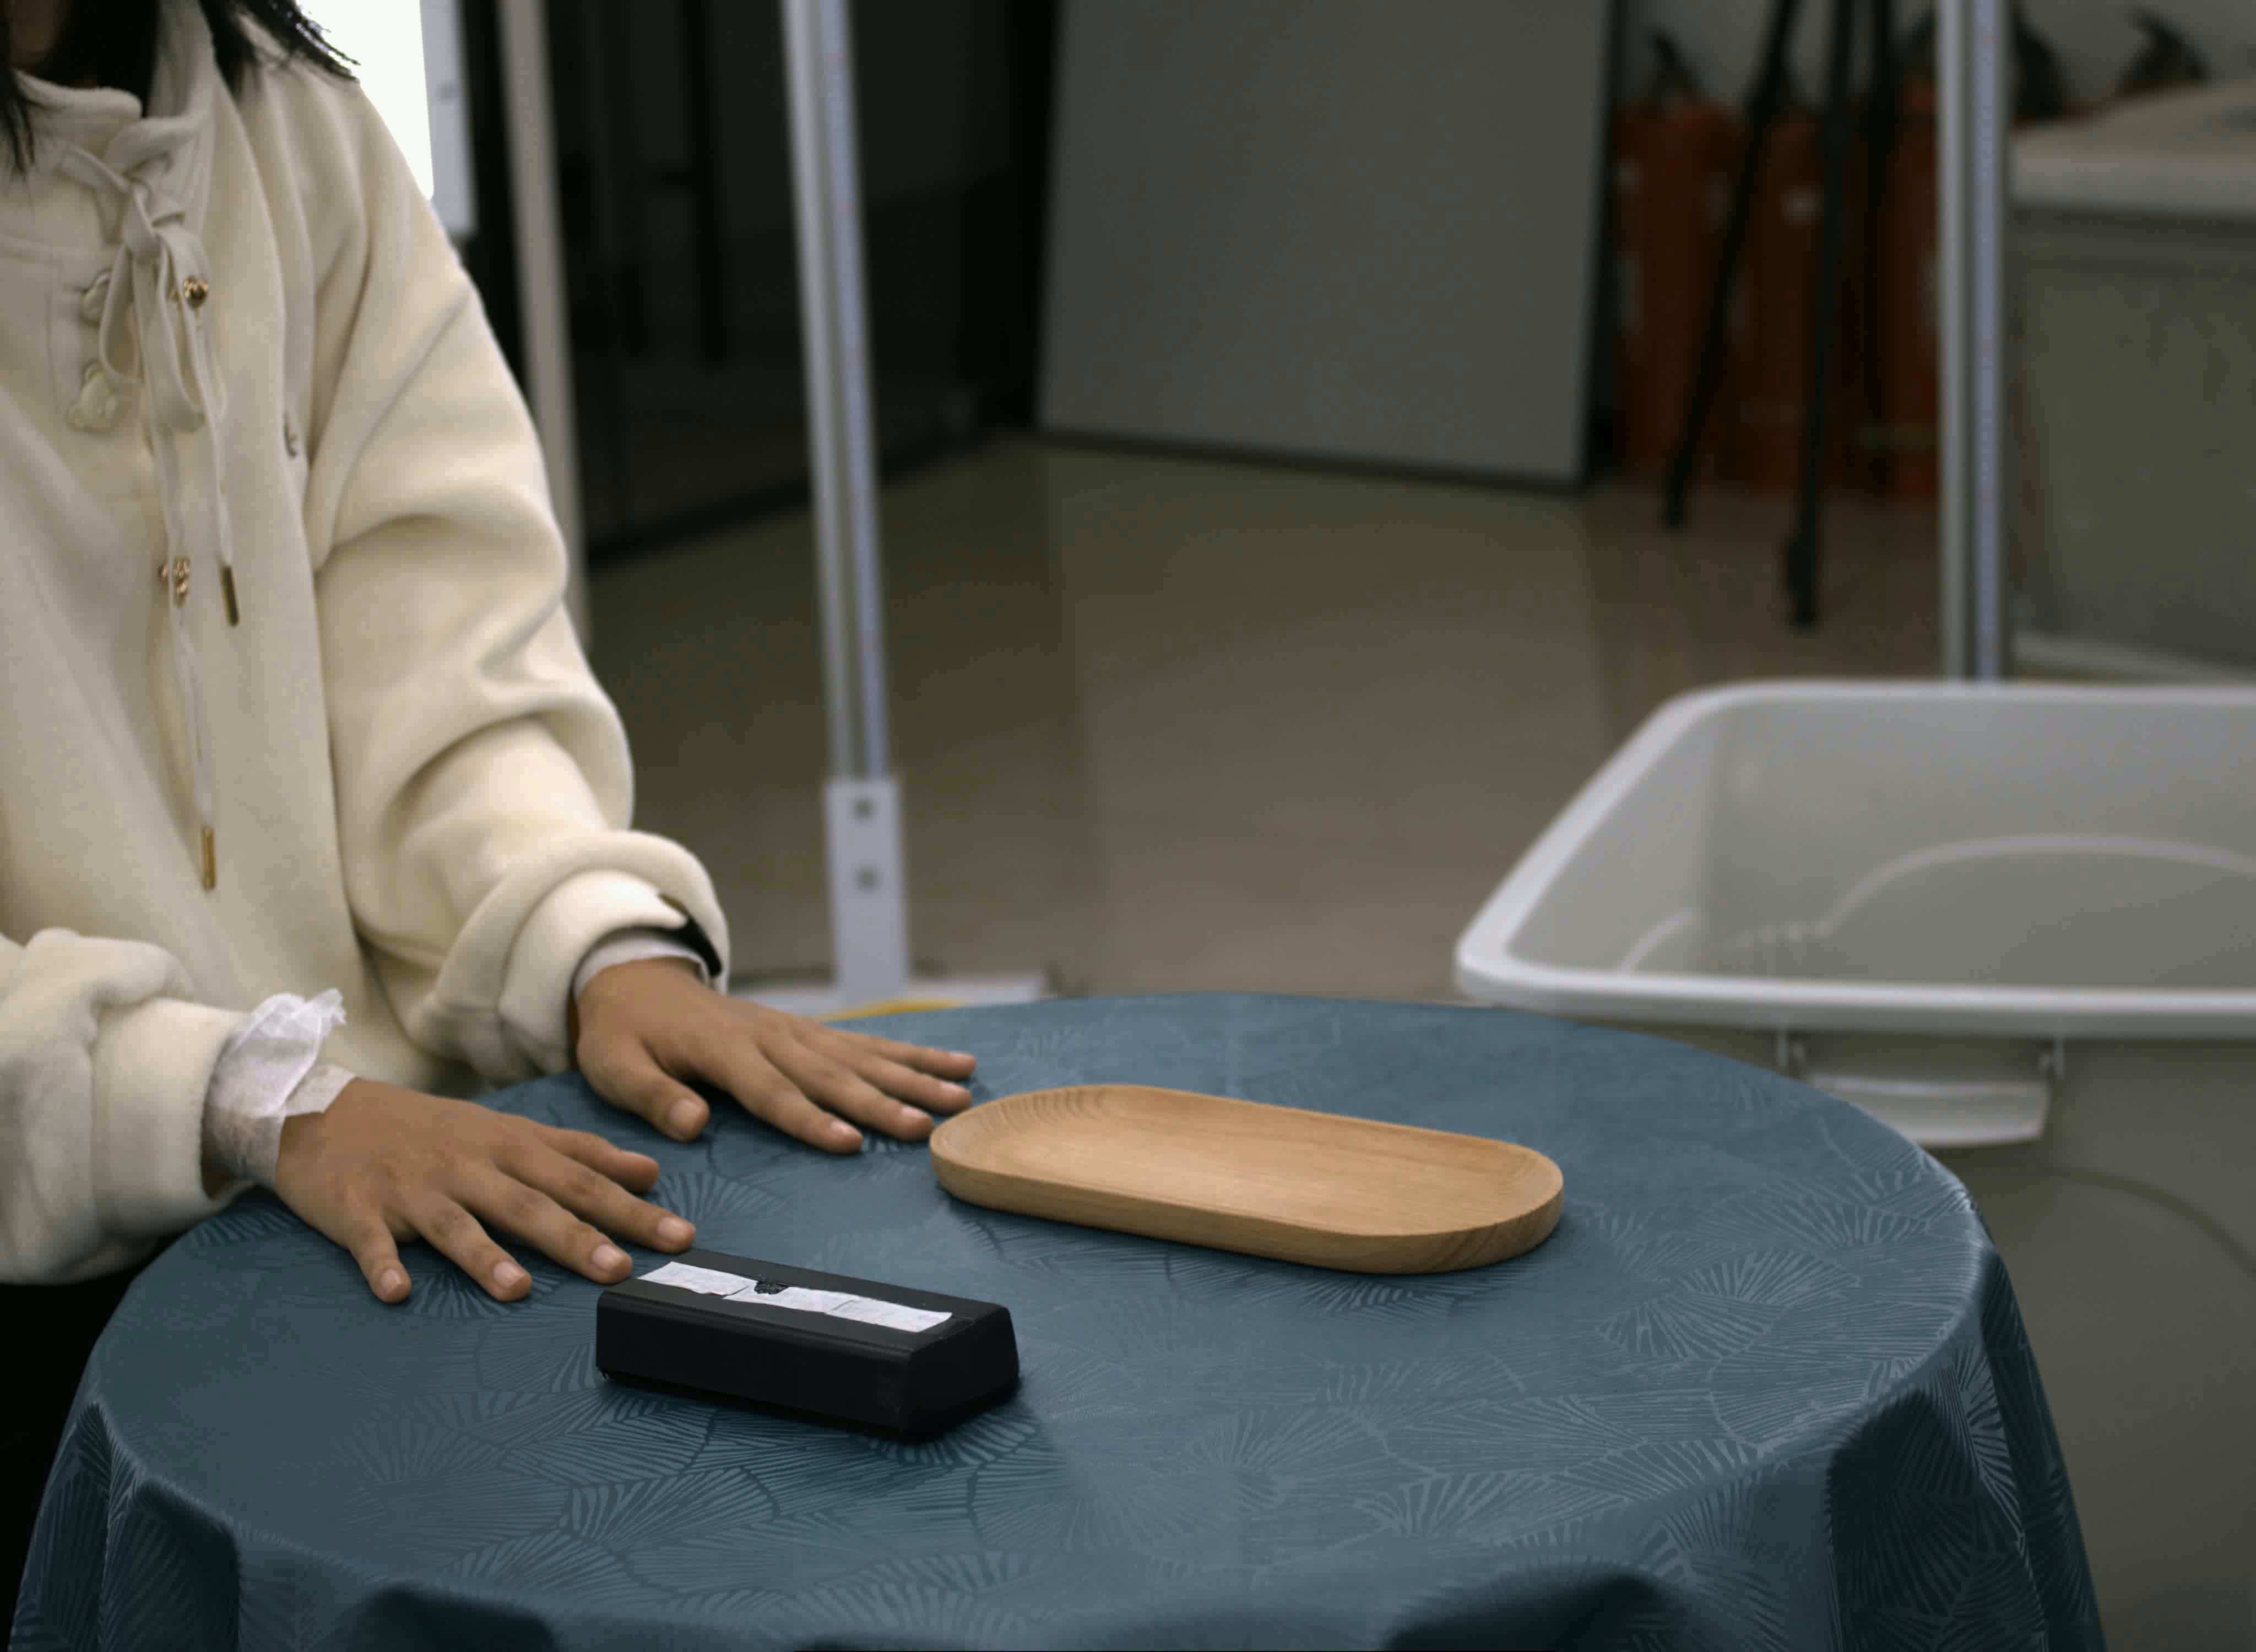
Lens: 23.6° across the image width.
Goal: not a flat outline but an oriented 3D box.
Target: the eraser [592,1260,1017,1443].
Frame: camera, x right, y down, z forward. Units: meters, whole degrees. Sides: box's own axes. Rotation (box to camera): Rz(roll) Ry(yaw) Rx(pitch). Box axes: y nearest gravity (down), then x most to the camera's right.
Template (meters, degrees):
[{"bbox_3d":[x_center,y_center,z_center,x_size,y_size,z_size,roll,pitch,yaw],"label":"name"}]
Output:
[{"bbox_3d":[-0.096,0.155,1.601,0.126,0.031,0.052,7,12,36],"label":"eraser"}]

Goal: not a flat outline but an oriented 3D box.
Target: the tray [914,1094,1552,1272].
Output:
[{"bbox_3d":[0.032,0.115,1.751,0.232,0.020,0.100,4,15,36],"label":"tray"}]
